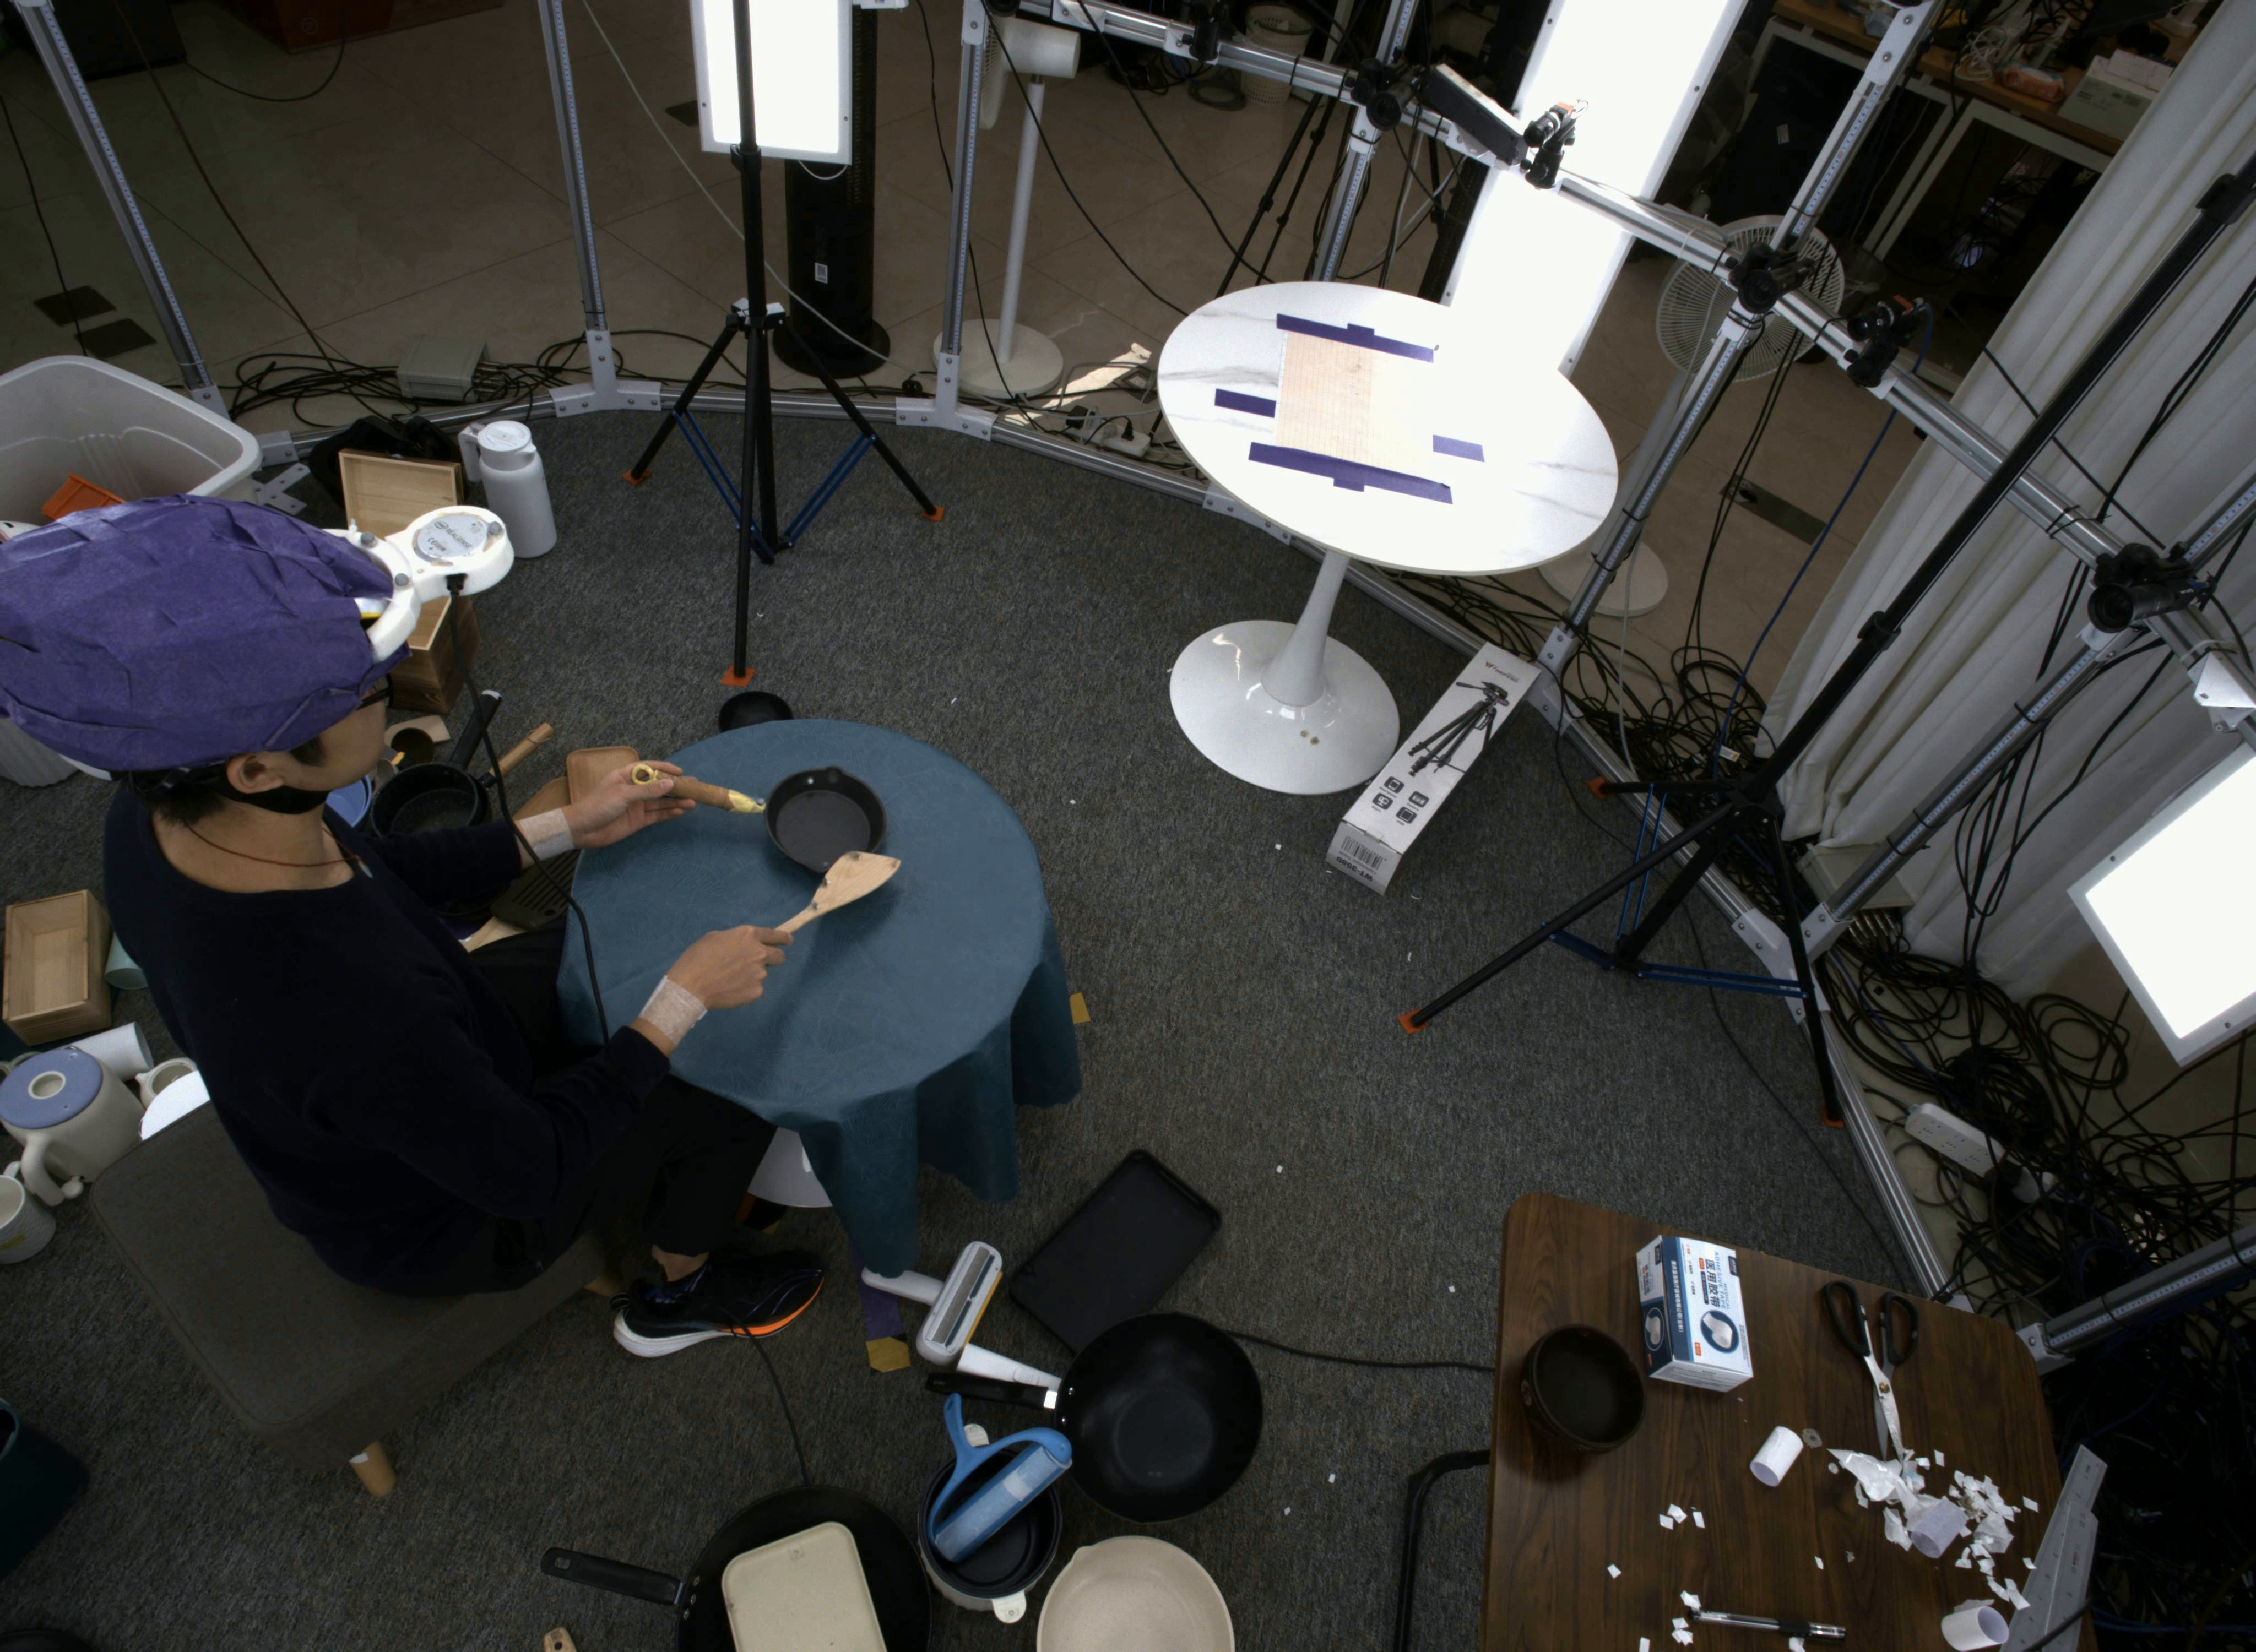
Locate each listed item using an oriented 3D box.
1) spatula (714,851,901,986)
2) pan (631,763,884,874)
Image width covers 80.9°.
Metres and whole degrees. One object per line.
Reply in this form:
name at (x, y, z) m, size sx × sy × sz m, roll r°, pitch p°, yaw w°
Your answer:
spatula at (-0.385, 0.101, 1.541) m, size 0.078 × 0.017 × 0.327 m, roll 16°, pitch 28°, yaw 17°
pan at (-0.476, -0.027, 1.662) m, size 0.327 × 0.050 × 0.166 m, roll 14°, pitch 54°, yaw -17°
